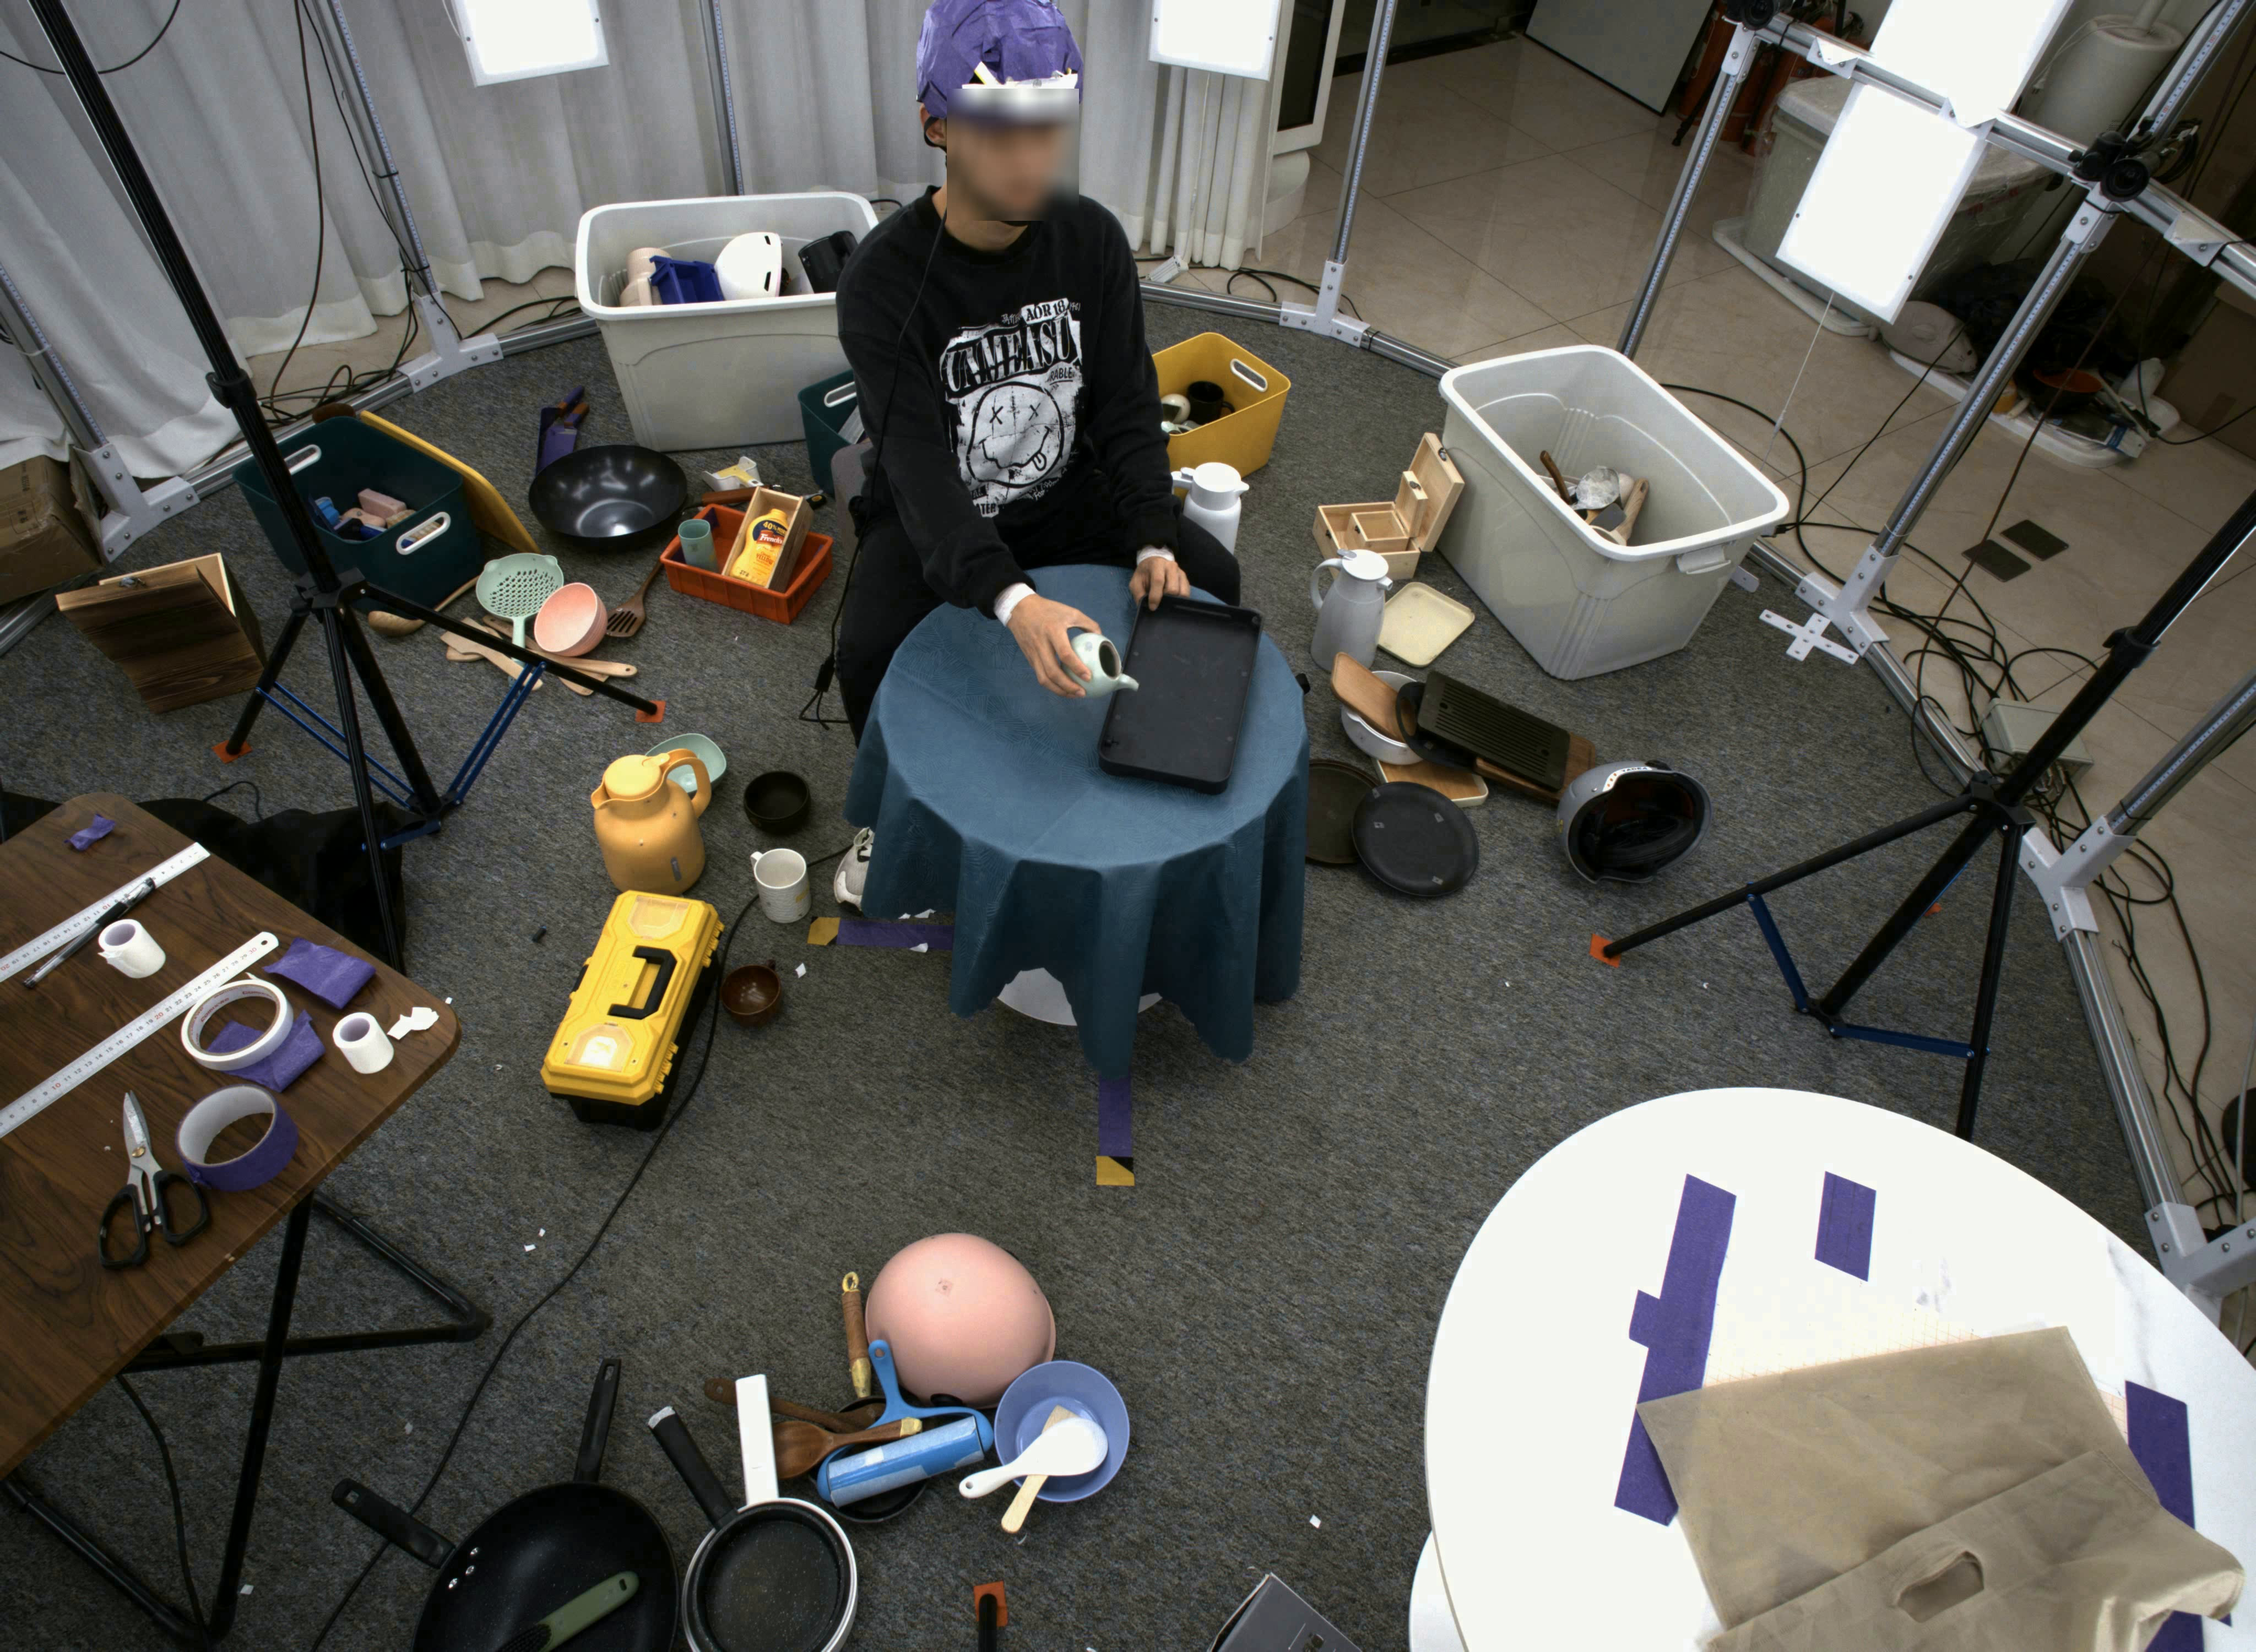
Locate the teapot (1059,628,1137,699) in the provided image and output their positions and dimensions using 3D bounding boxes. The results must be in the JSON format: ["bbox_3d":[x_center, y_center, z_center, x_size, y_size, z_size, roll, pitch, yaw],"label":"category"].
[{"bbox_3d":[-0.050,-0.214,1.706,0.074,0.141,0.090,-12,53,28],"label":"teapot"}]

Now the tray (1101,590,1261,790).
[{"bbox_3d":[0.078,-0.196,1.800,0.184,0.036,0.325,9,55,5],"label":"tray"}]
